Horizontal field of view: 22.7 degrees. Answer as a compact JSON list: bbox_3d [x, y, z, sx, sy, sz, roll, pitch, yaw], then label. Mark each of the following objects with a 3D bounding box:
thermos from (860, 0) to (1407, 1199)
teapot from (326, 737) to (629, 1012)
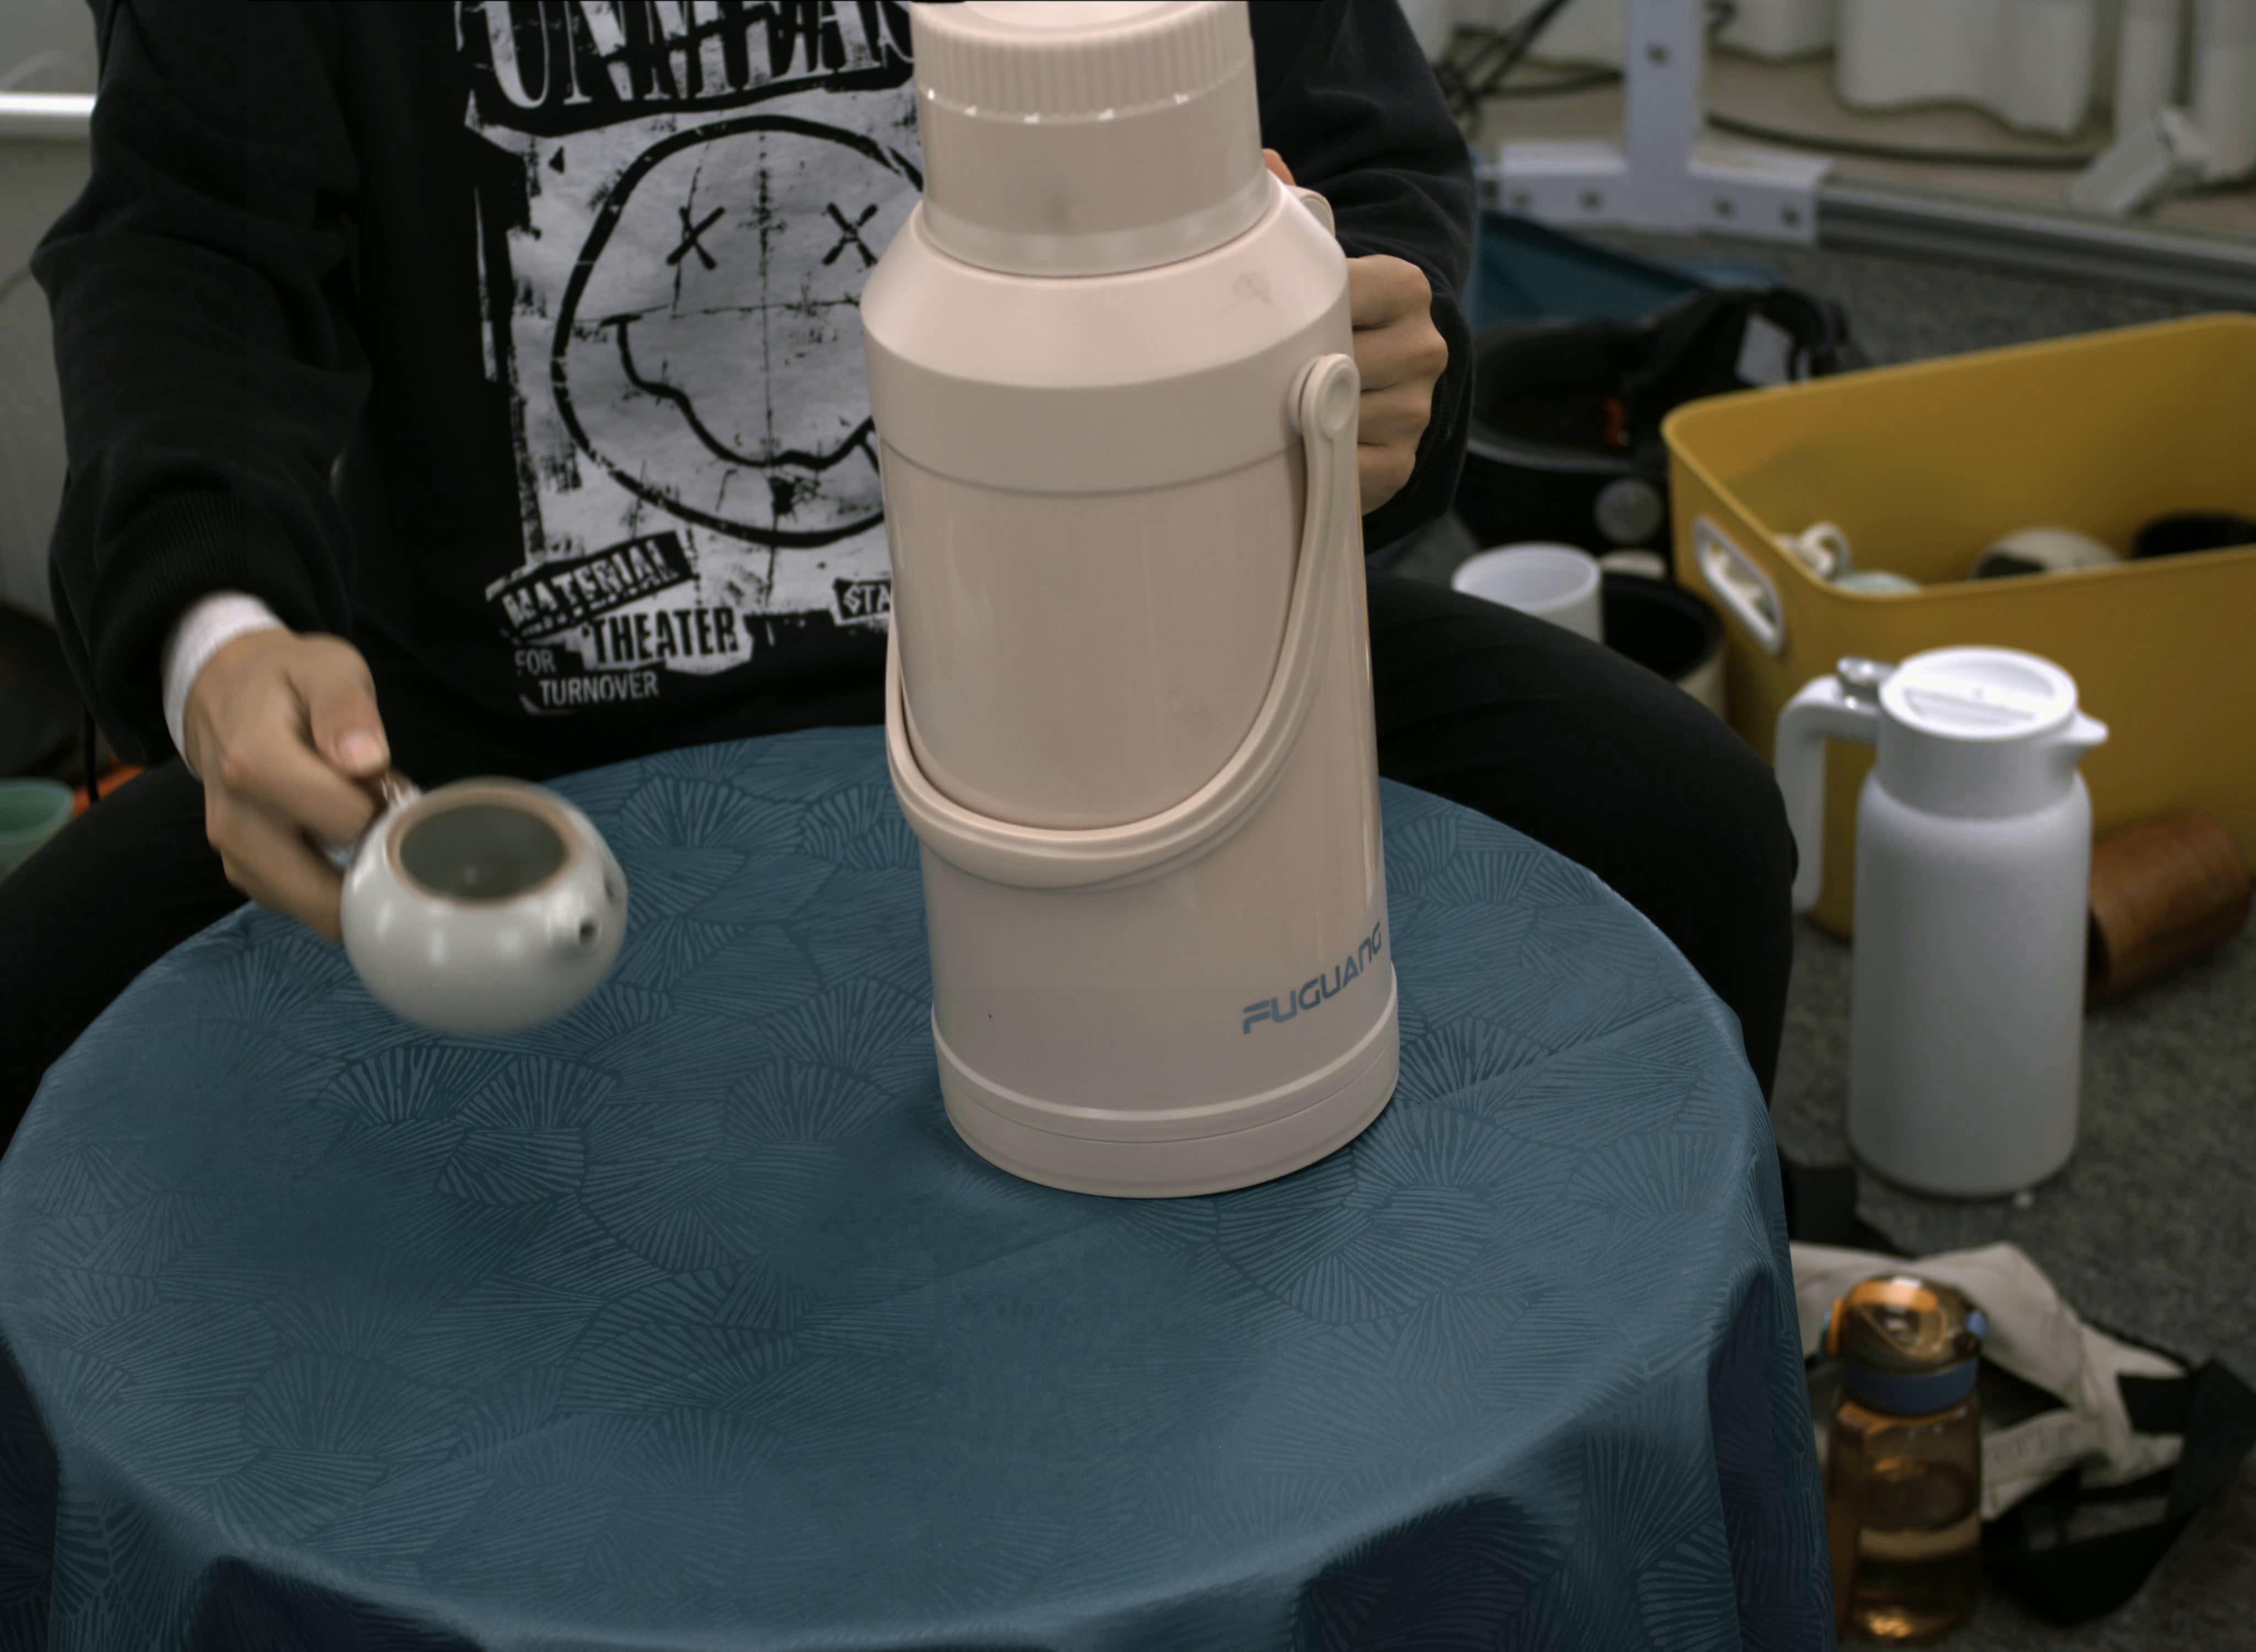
[{"bbox_3d":[0.009,-0.094,1.844,0.174,0.402,0.210,11,32,32],"label":"thermos"},{"bbox_3d":[-0.212,0.015,1.800,0.128,0.058,0.093,31,48,29],"label":"teapot"}]
